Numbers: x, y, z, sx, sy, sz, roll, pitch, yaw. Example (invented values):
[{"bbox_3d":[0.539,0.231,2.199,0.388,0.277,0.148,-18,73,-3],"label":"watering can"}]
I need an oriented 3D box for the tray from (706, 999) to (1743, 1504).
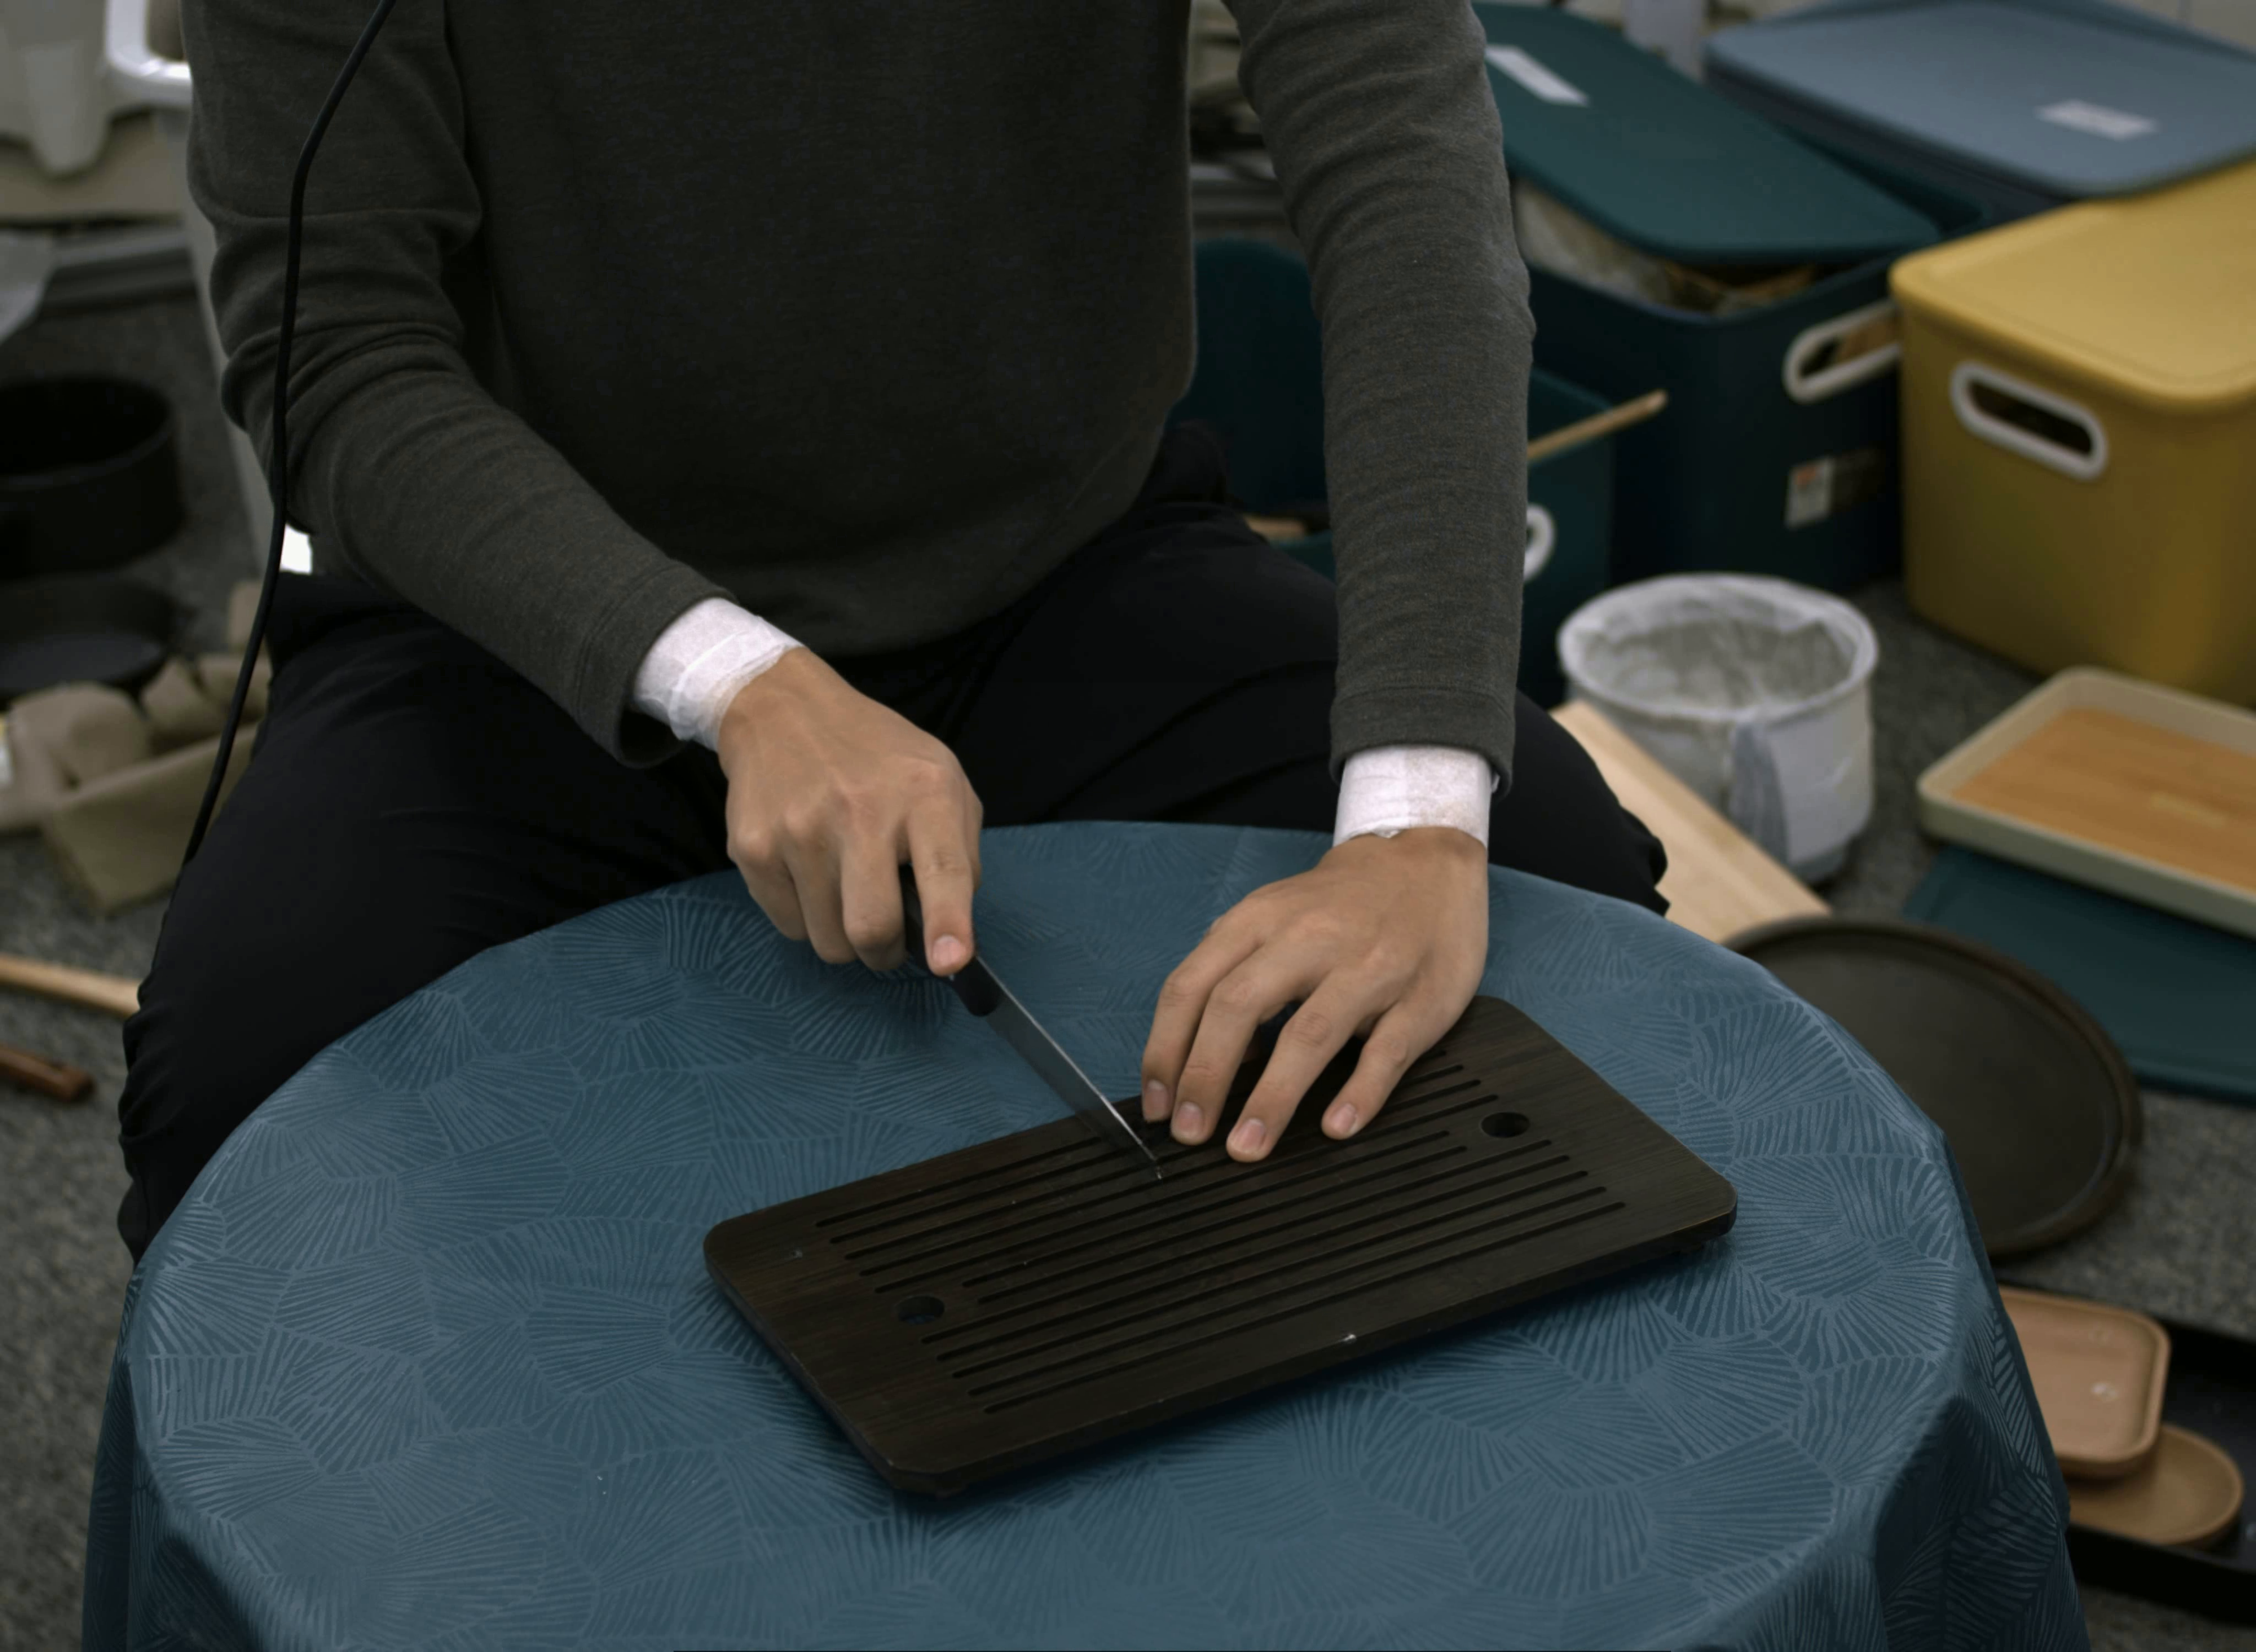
[{"bbox_3d":[0.031,0.135,1.814,0.307,0.018,0.171,-16,29,-24],"label":"tray"}]

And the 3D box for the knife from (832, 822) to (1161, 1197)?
[{"bbox_3d":[-0.045,0.060,1.913,0.016,0.024,0.240,-7,32,-28],"label":"knife"}]
